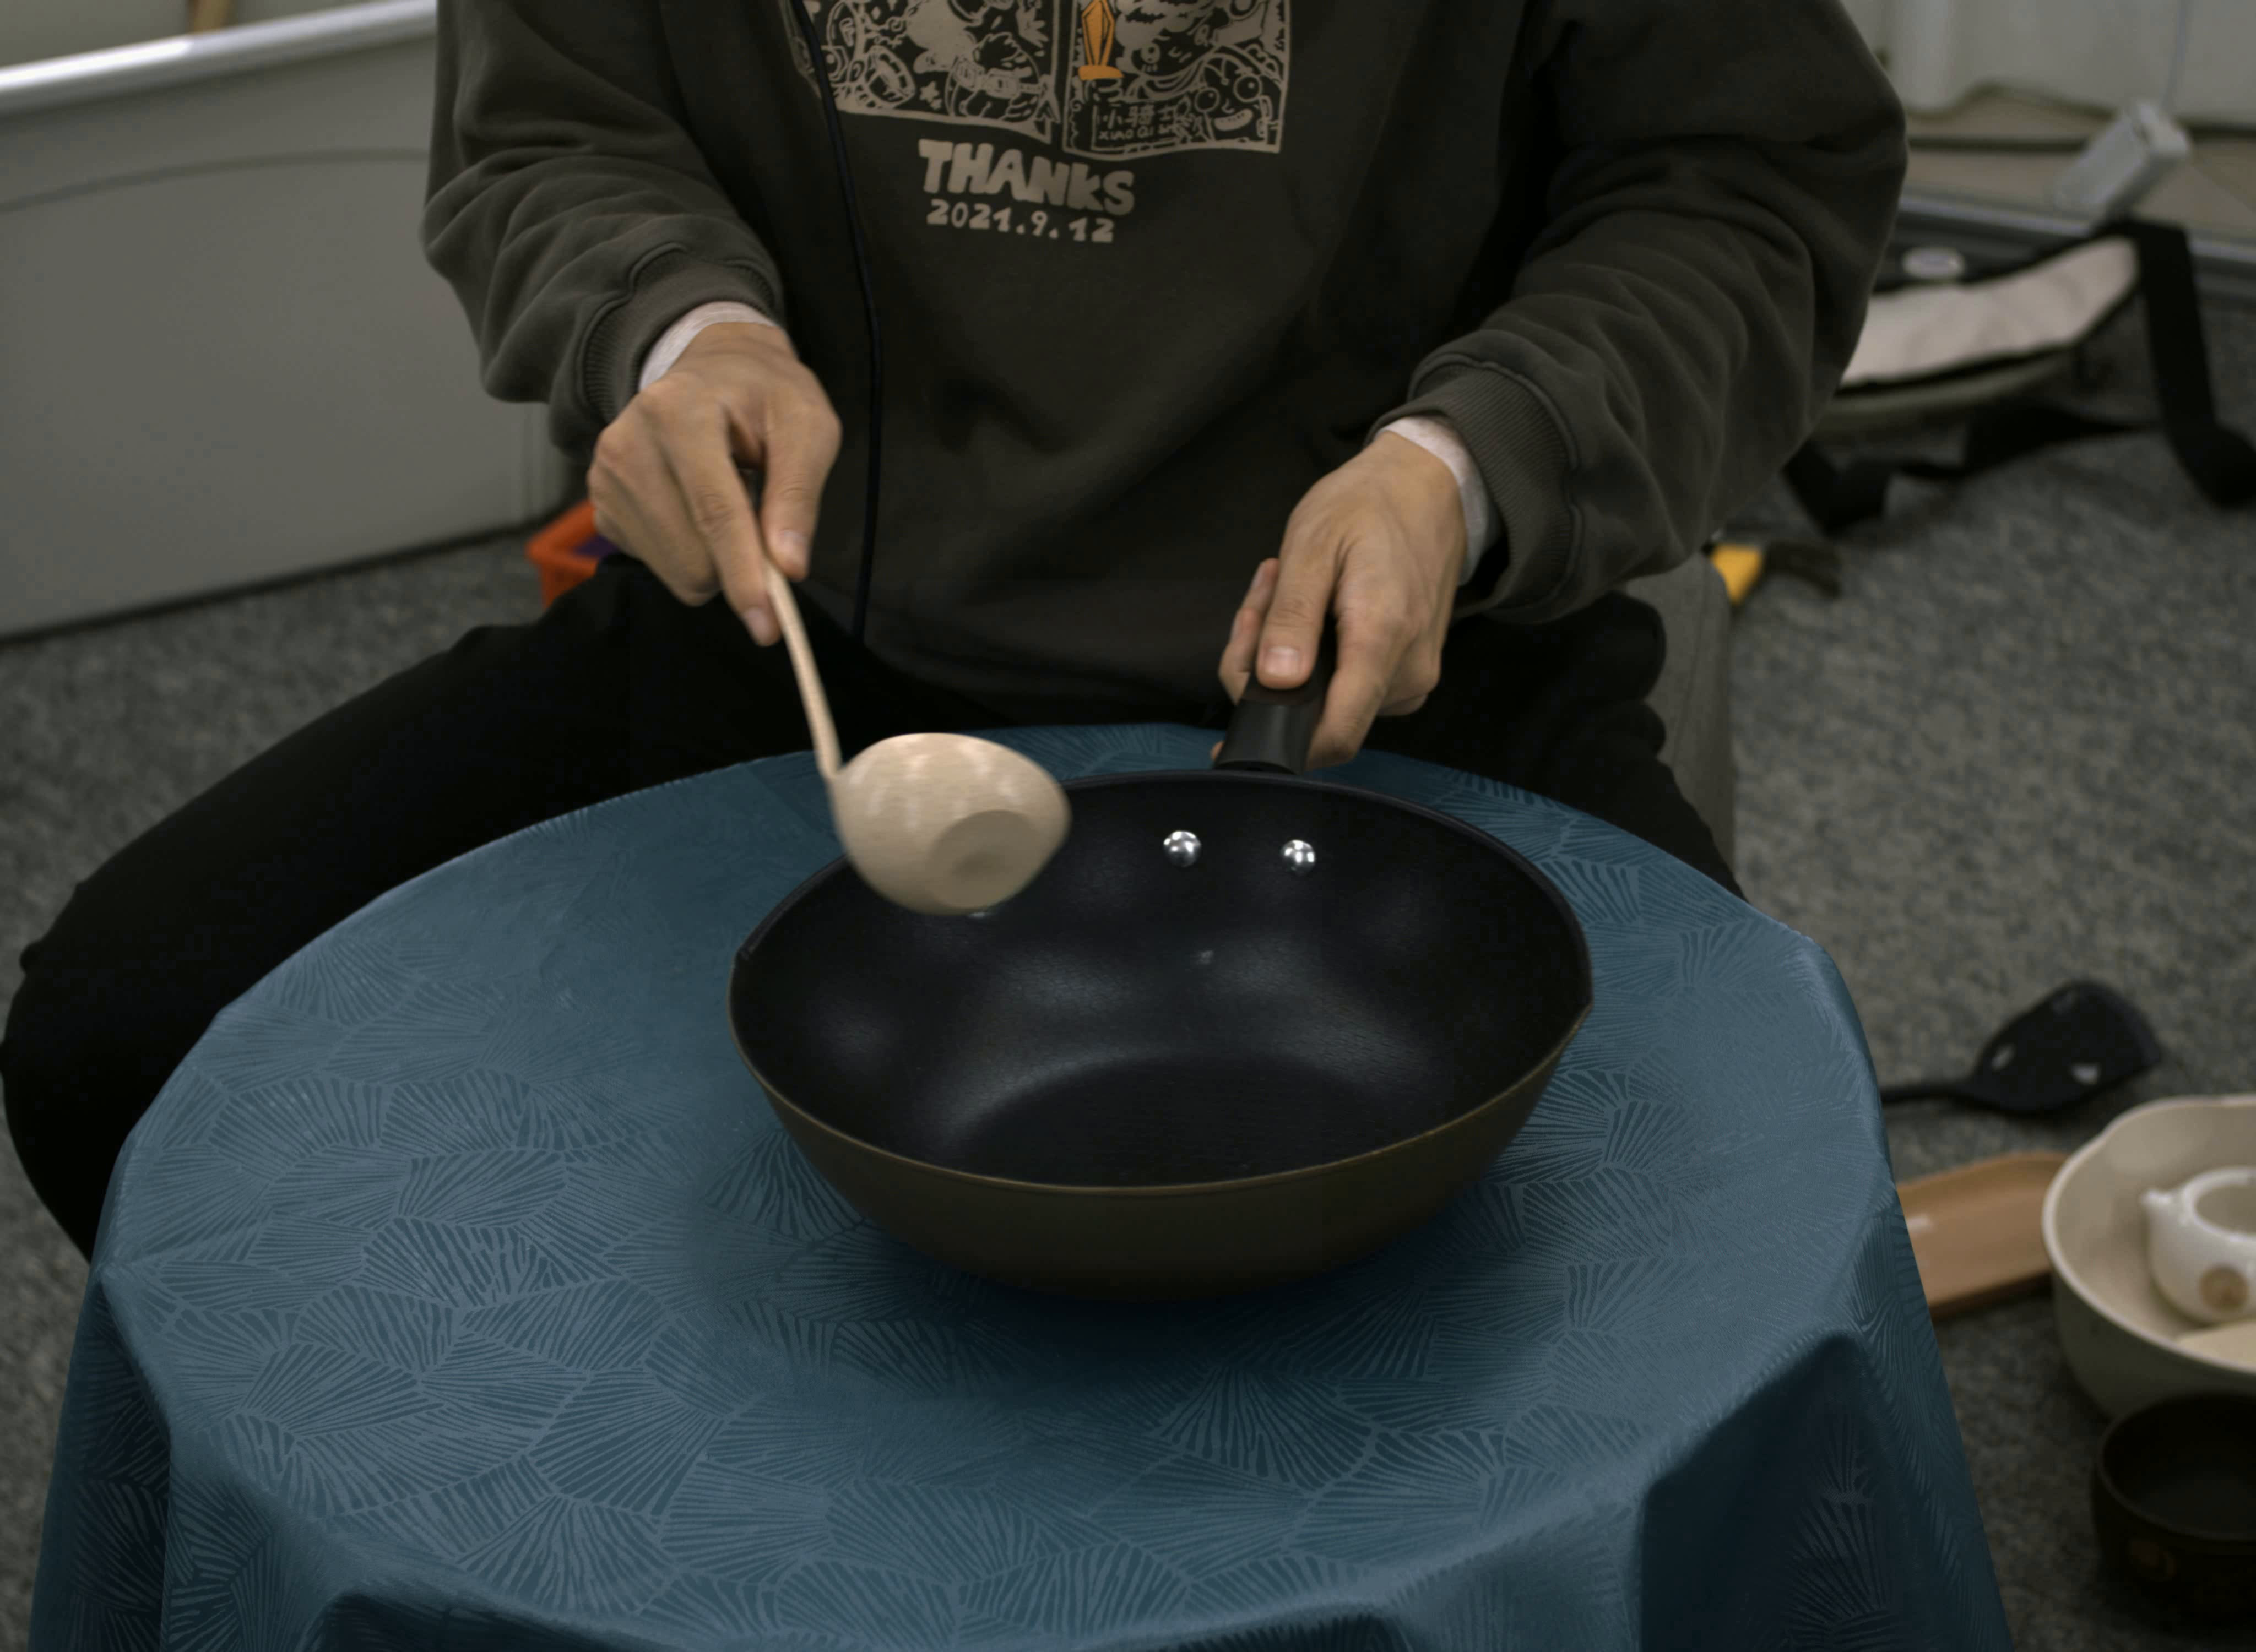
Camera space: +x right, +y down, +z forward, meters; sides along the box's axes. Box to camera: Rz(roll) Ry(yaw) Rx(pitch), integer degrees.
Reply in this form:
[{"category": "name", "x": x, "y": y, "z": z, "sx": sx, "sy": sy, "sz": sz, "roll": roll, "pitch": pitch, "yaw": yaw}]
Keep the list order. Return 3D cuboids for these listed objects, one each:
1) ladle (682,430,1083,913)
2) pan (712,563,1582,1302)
[{"category": "ladle", "x": -0.084, "y": -0.071, "z": 1.897, "sx": 0.072, "sy": 0.071, "sz": 0.258, "roll": -30, "pitch": 47, "yaw": 5}, {"category": "pan", "x": 0.028, "y": 0.038, "z": 1.929, "sx": 0.286, "sy": 0.086, "sz": 0.471, "roll": 3, "pitch": 27, "yaw": 13}]
